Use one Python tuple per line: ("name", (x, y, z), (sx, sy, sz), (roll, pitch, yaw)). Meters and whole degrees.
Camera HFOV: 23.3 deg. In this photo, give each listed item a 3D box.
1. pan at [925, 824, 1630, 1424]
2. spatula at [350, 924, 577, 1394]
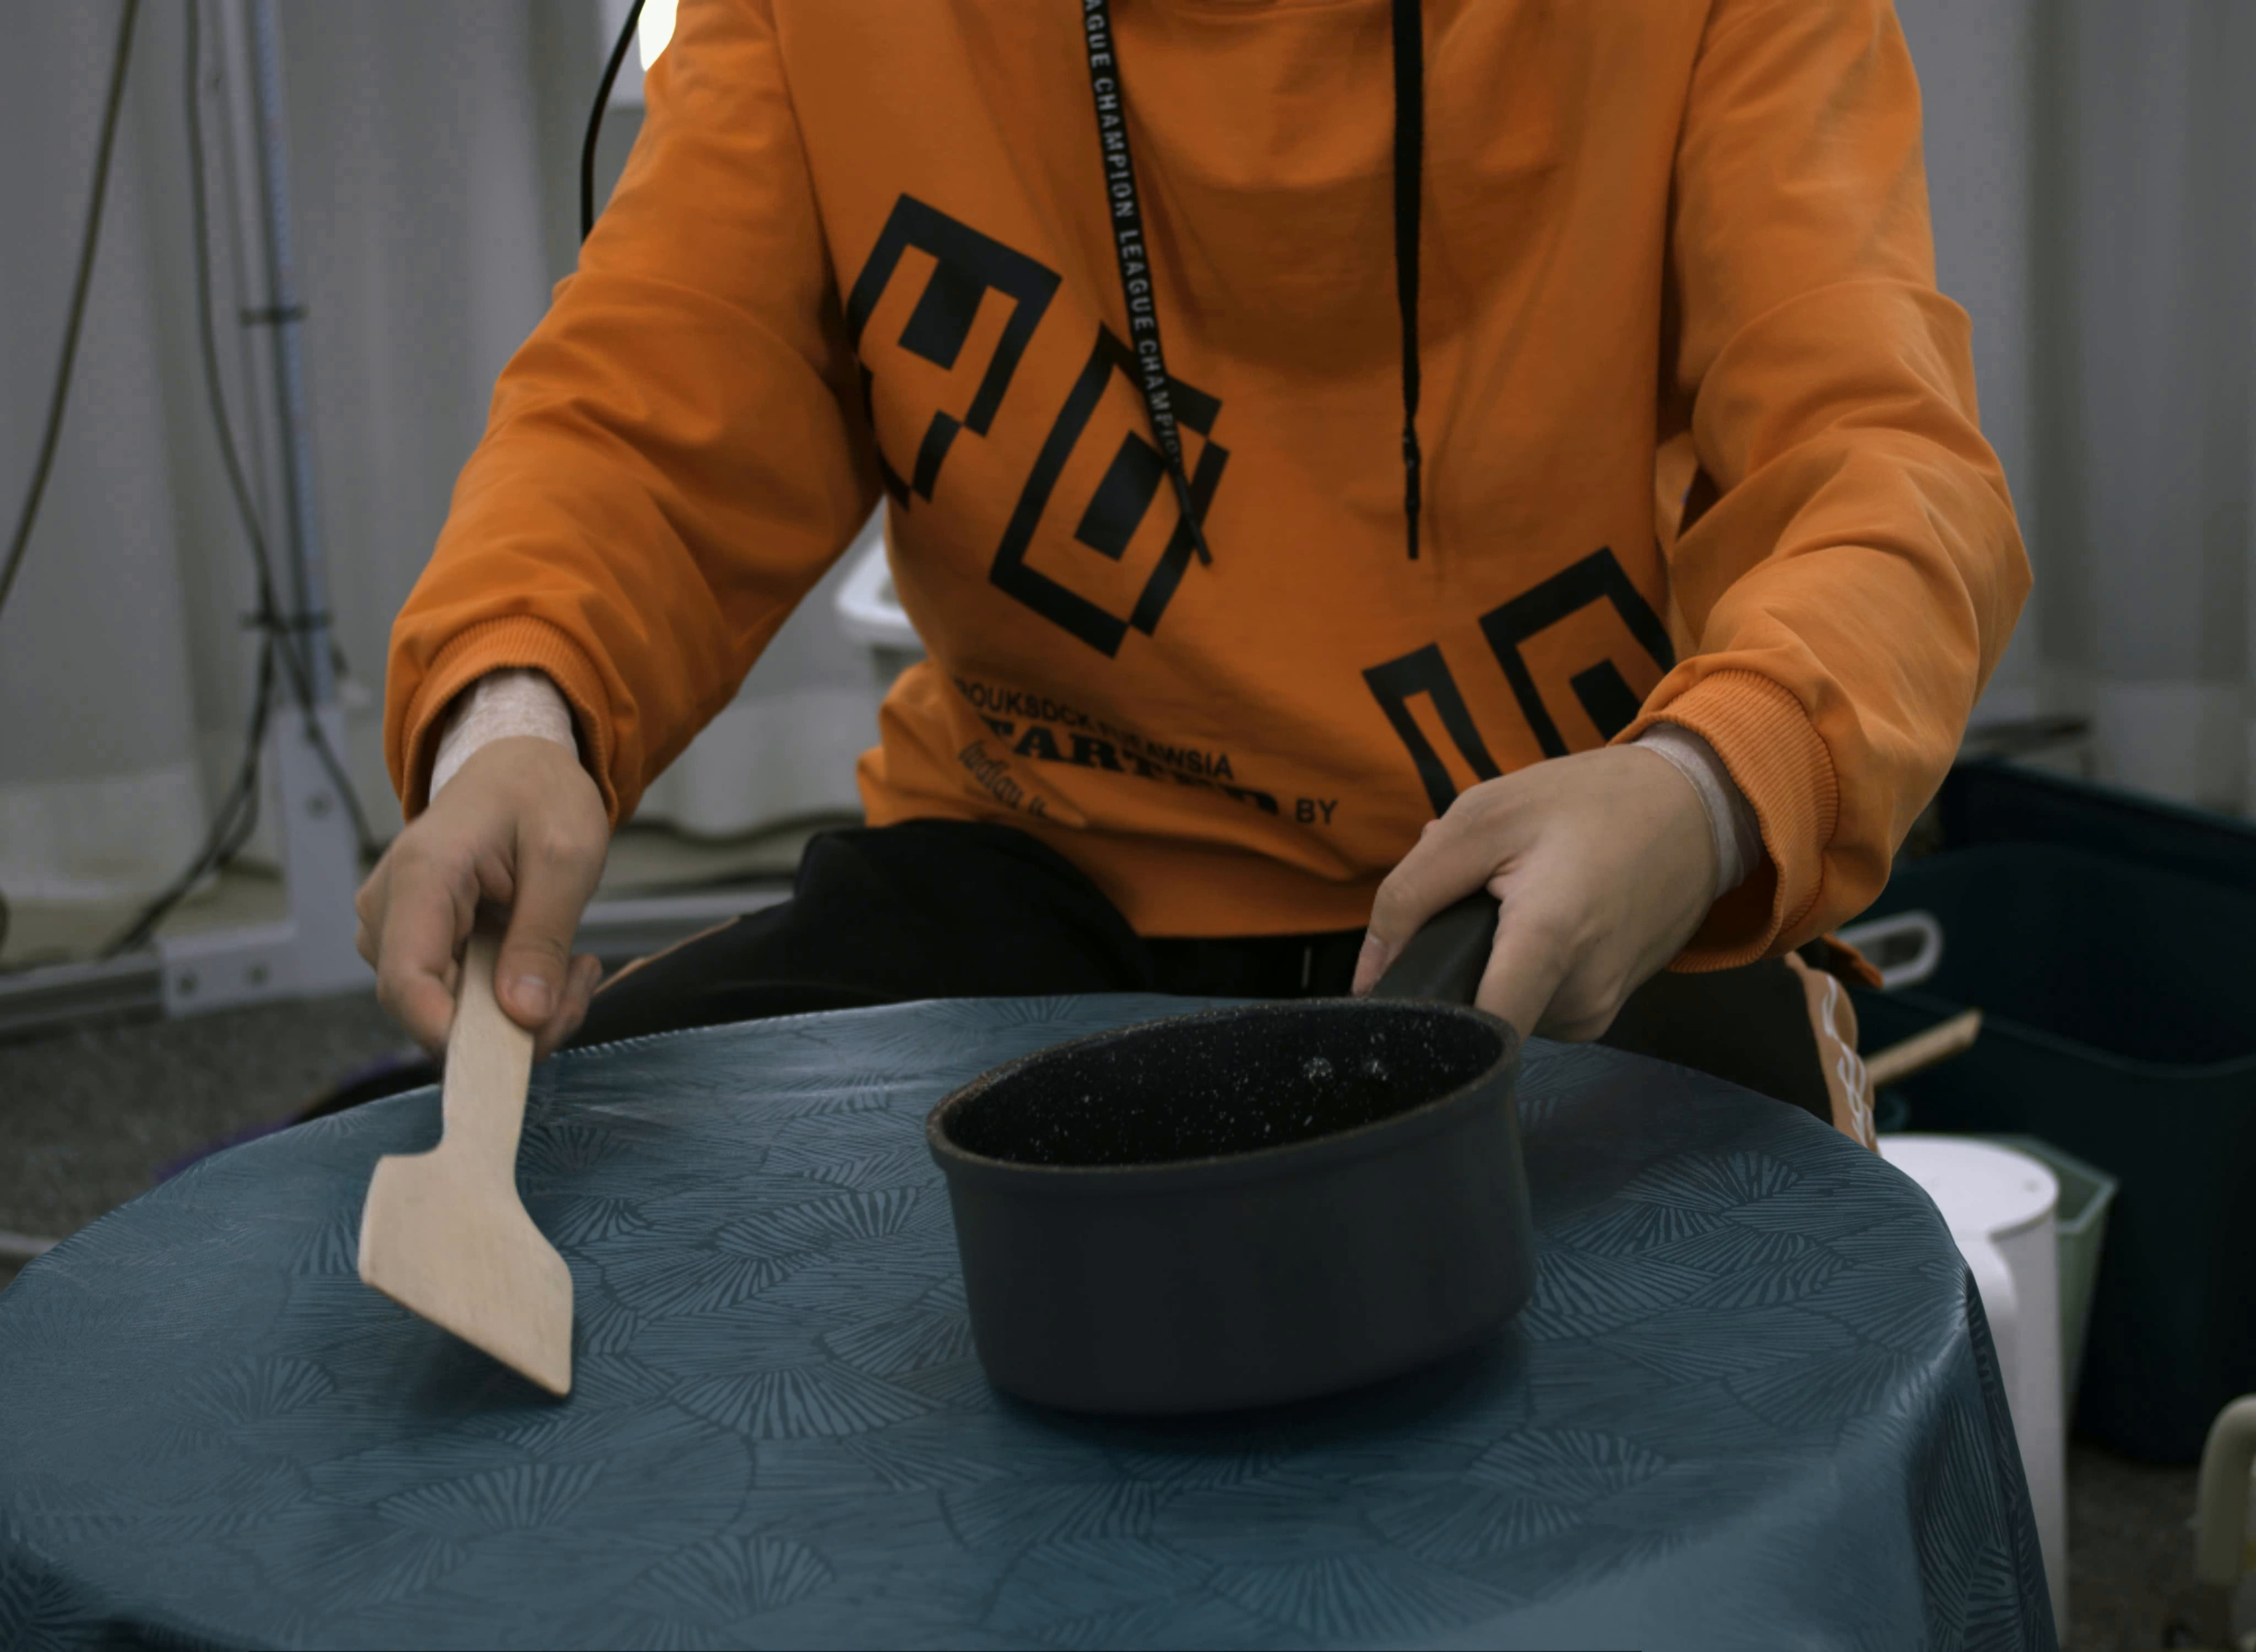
("pan", (0.070, 0.085, 1.621), (0.172, 0.086, 0.329), (0, 16, 30))
("spatula", (-0.198, 0.093, 1.686), (0.072, 0.010, 0.296), (29, 18, -13))
